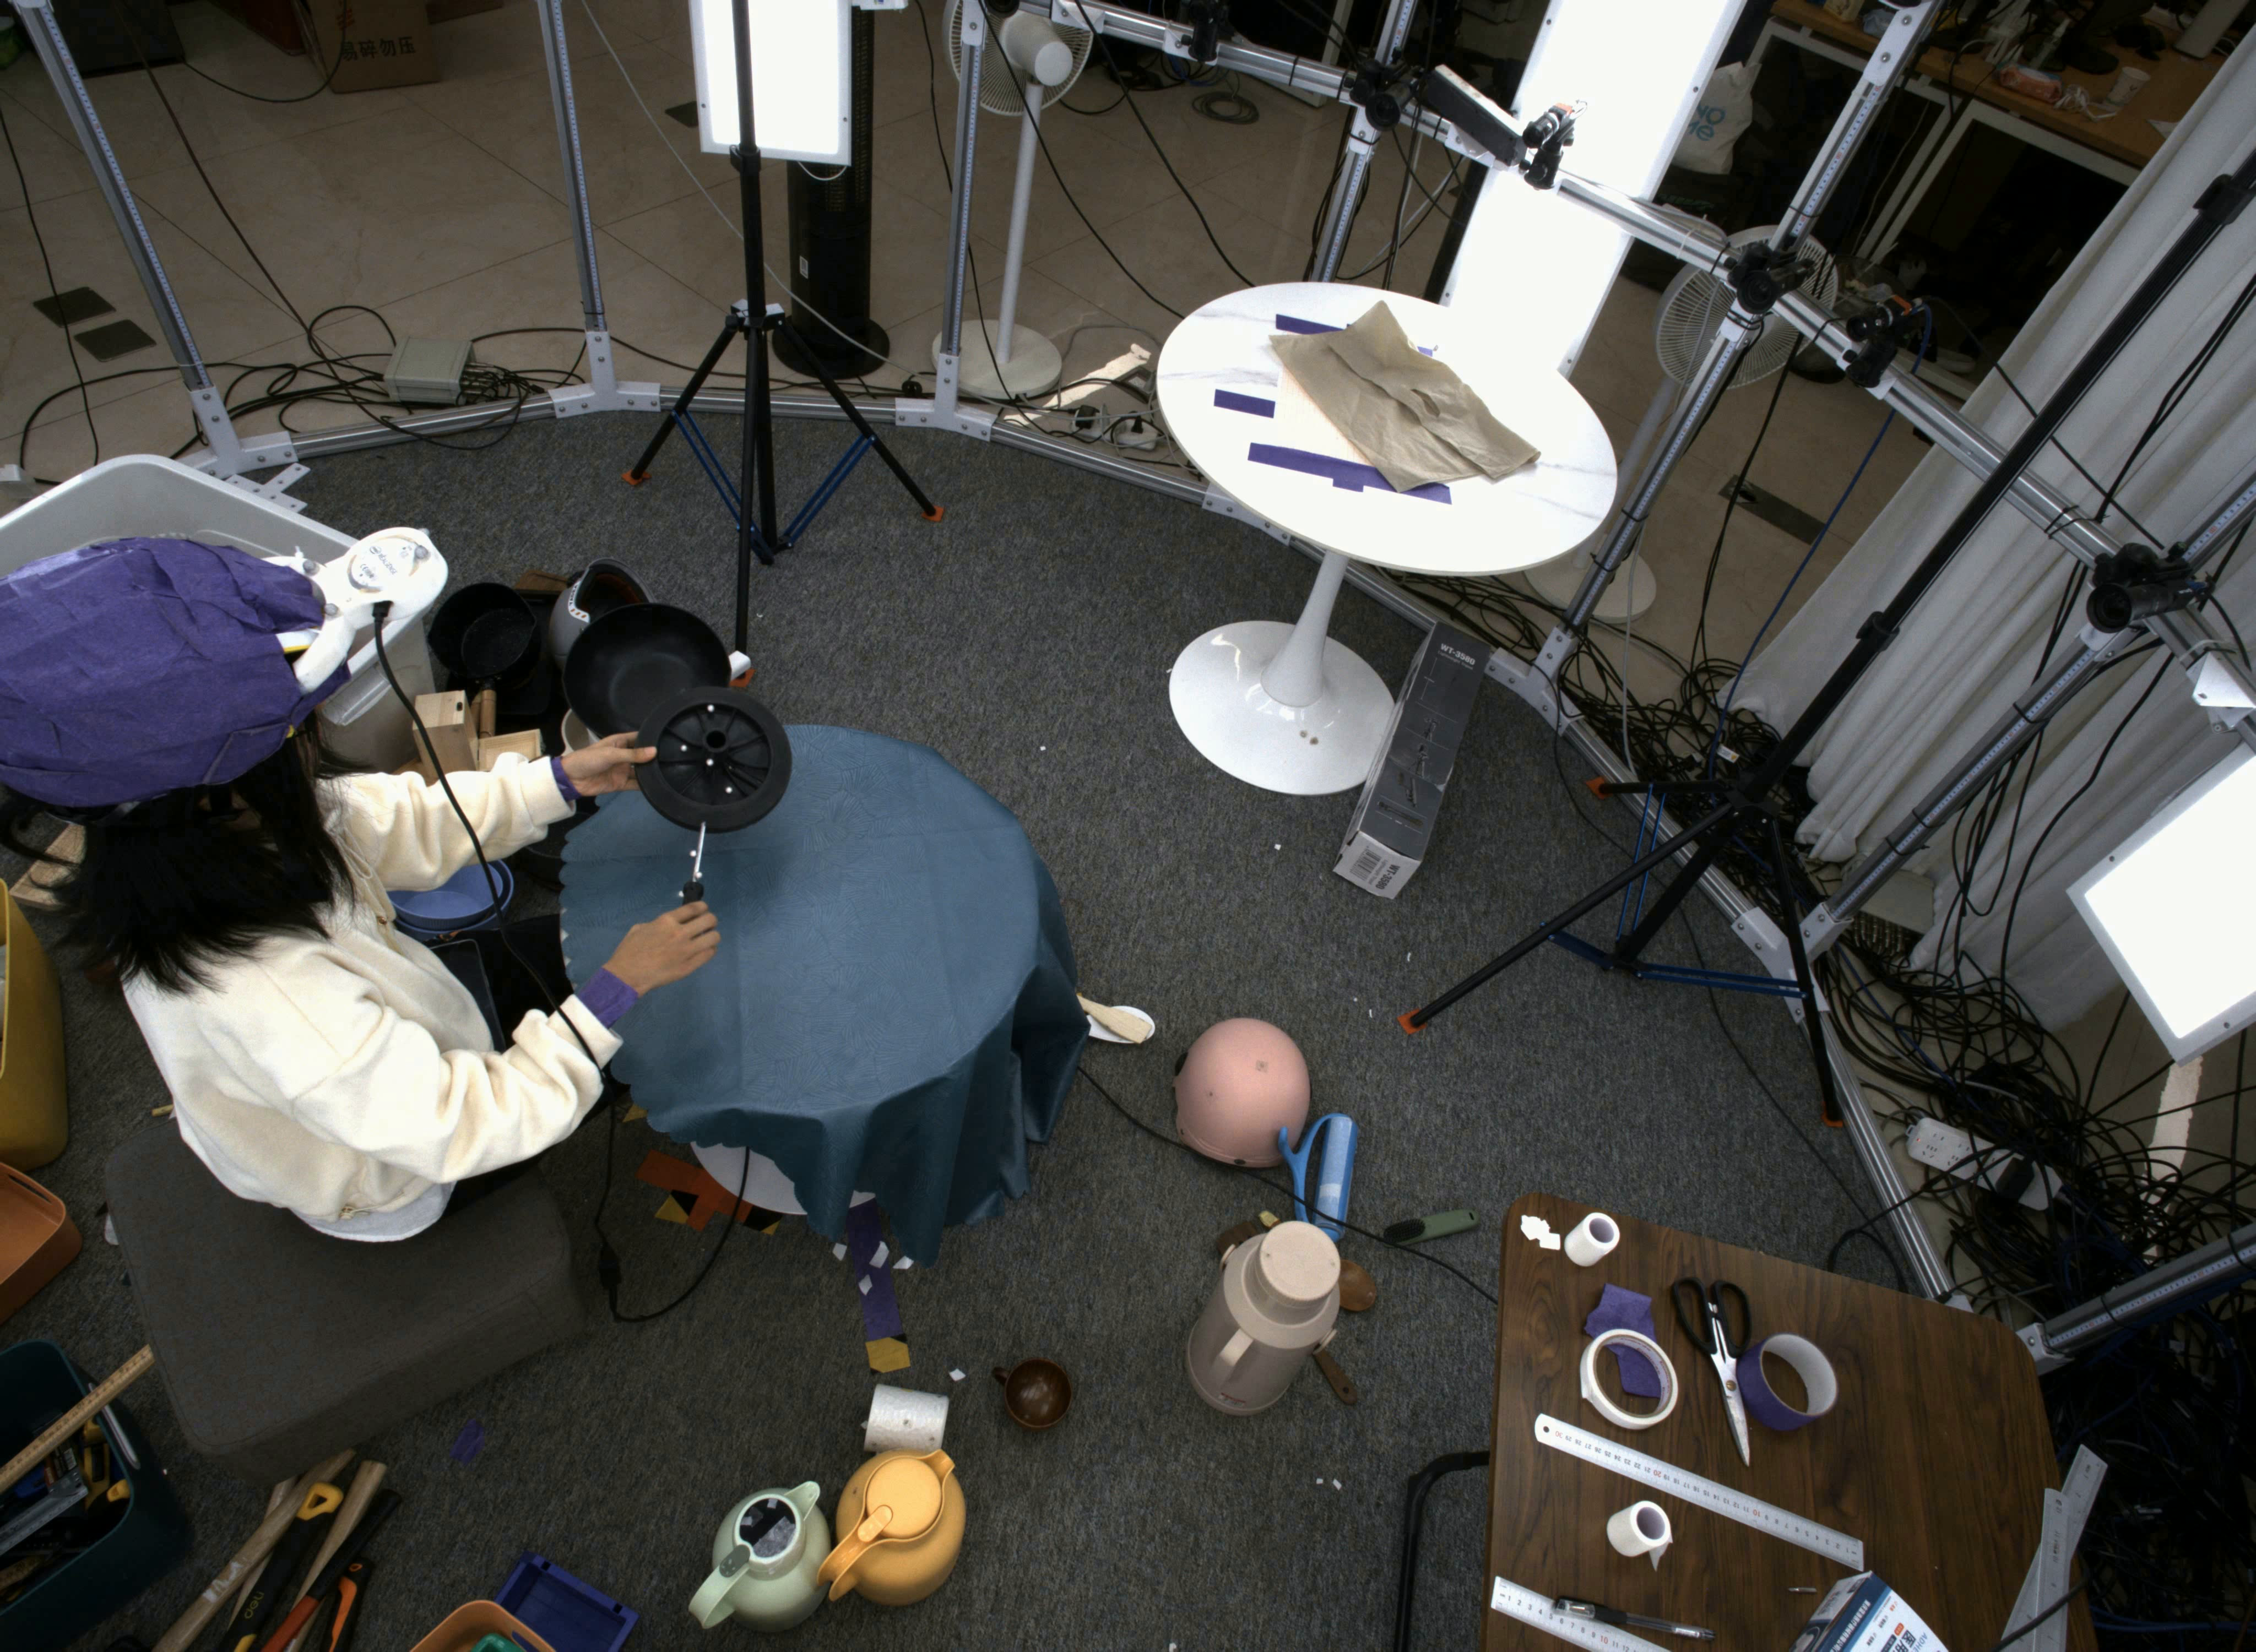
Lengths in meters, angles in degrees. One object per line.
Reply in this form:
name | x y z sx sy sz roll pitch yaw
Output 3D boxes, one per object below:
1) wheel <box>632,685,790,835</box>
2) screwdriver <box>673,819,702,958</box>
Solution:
wheel | -0.501 -0.090 1.556 0.192 0.078 0.186 11 69 -21
screwdriver | -0.501 0.064 1.469 0.031 0.032 0.191 -2 51 -14
